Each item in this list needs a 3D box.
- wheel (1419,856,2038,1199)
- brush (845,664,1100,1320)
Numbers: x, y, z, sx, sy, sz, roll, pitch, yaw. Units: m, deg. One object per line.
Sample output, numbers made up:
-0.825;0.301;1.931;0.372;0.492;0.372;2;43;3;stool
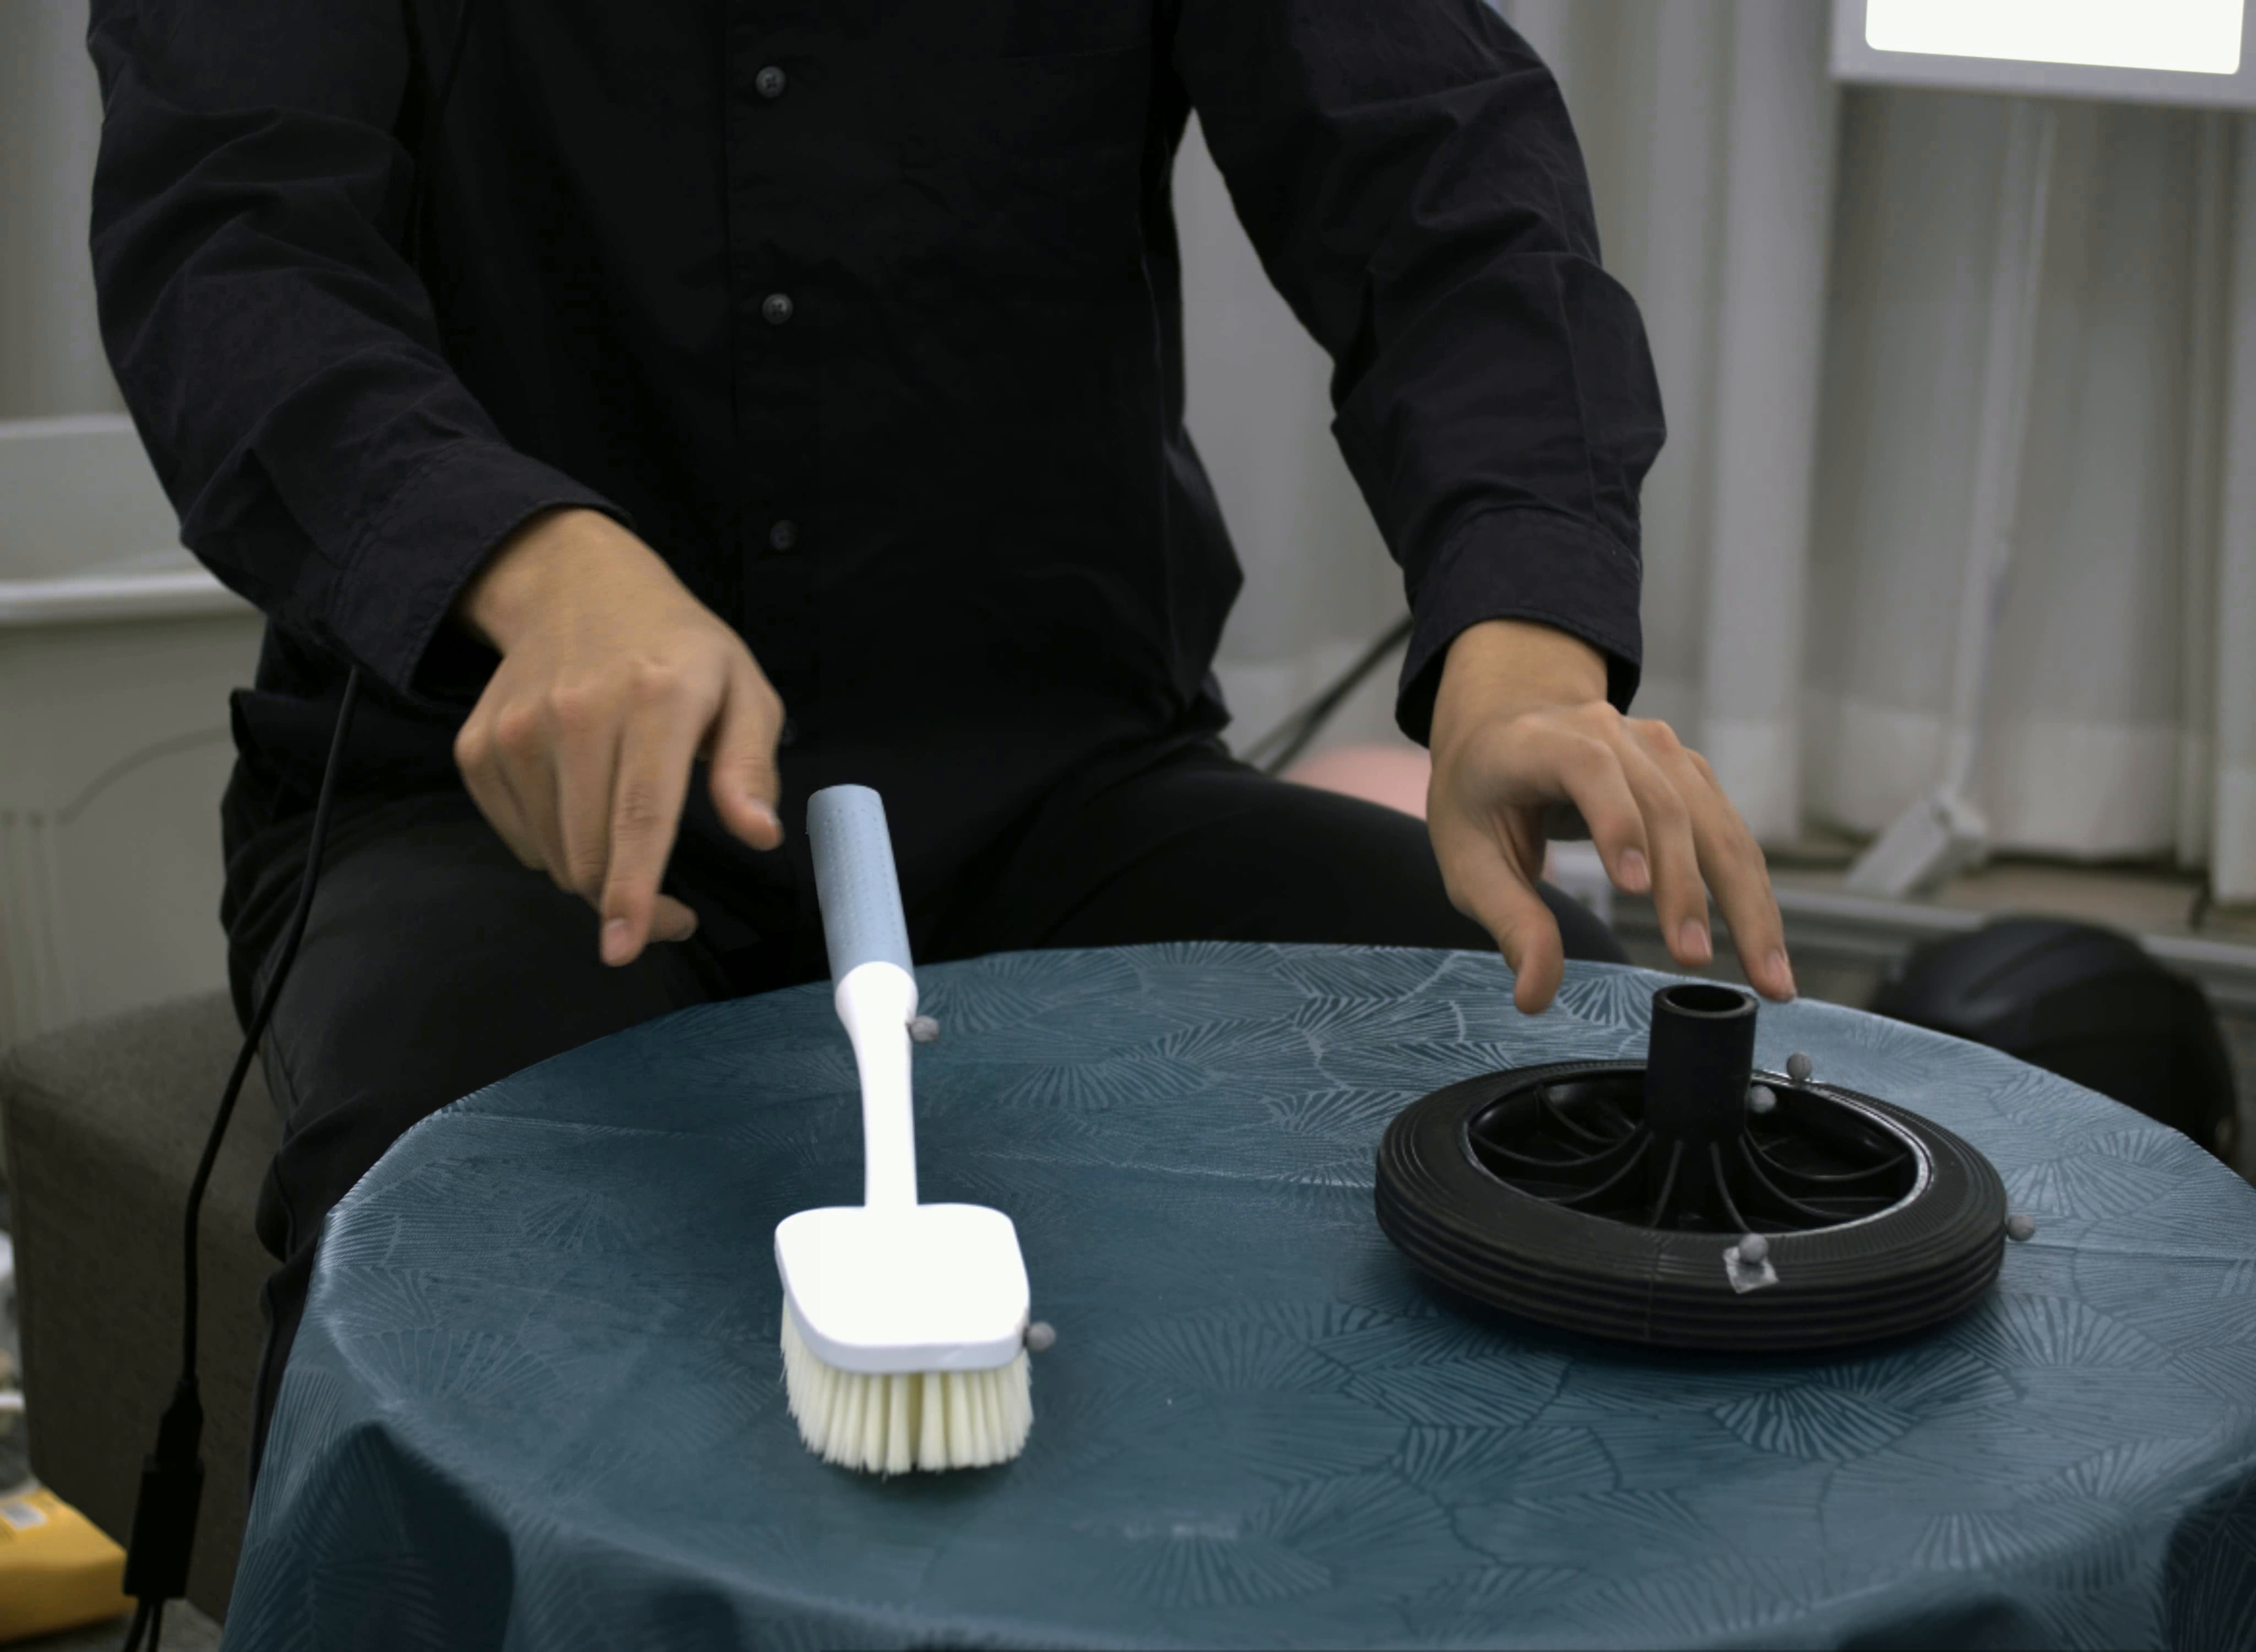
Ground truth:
0.184;0.051;1.607;0.190;0.080;0.185;-5;19;-19;wheel
-0.049;0.061;1.567;0.084;0.084;0.322;33;20;-22;brush
